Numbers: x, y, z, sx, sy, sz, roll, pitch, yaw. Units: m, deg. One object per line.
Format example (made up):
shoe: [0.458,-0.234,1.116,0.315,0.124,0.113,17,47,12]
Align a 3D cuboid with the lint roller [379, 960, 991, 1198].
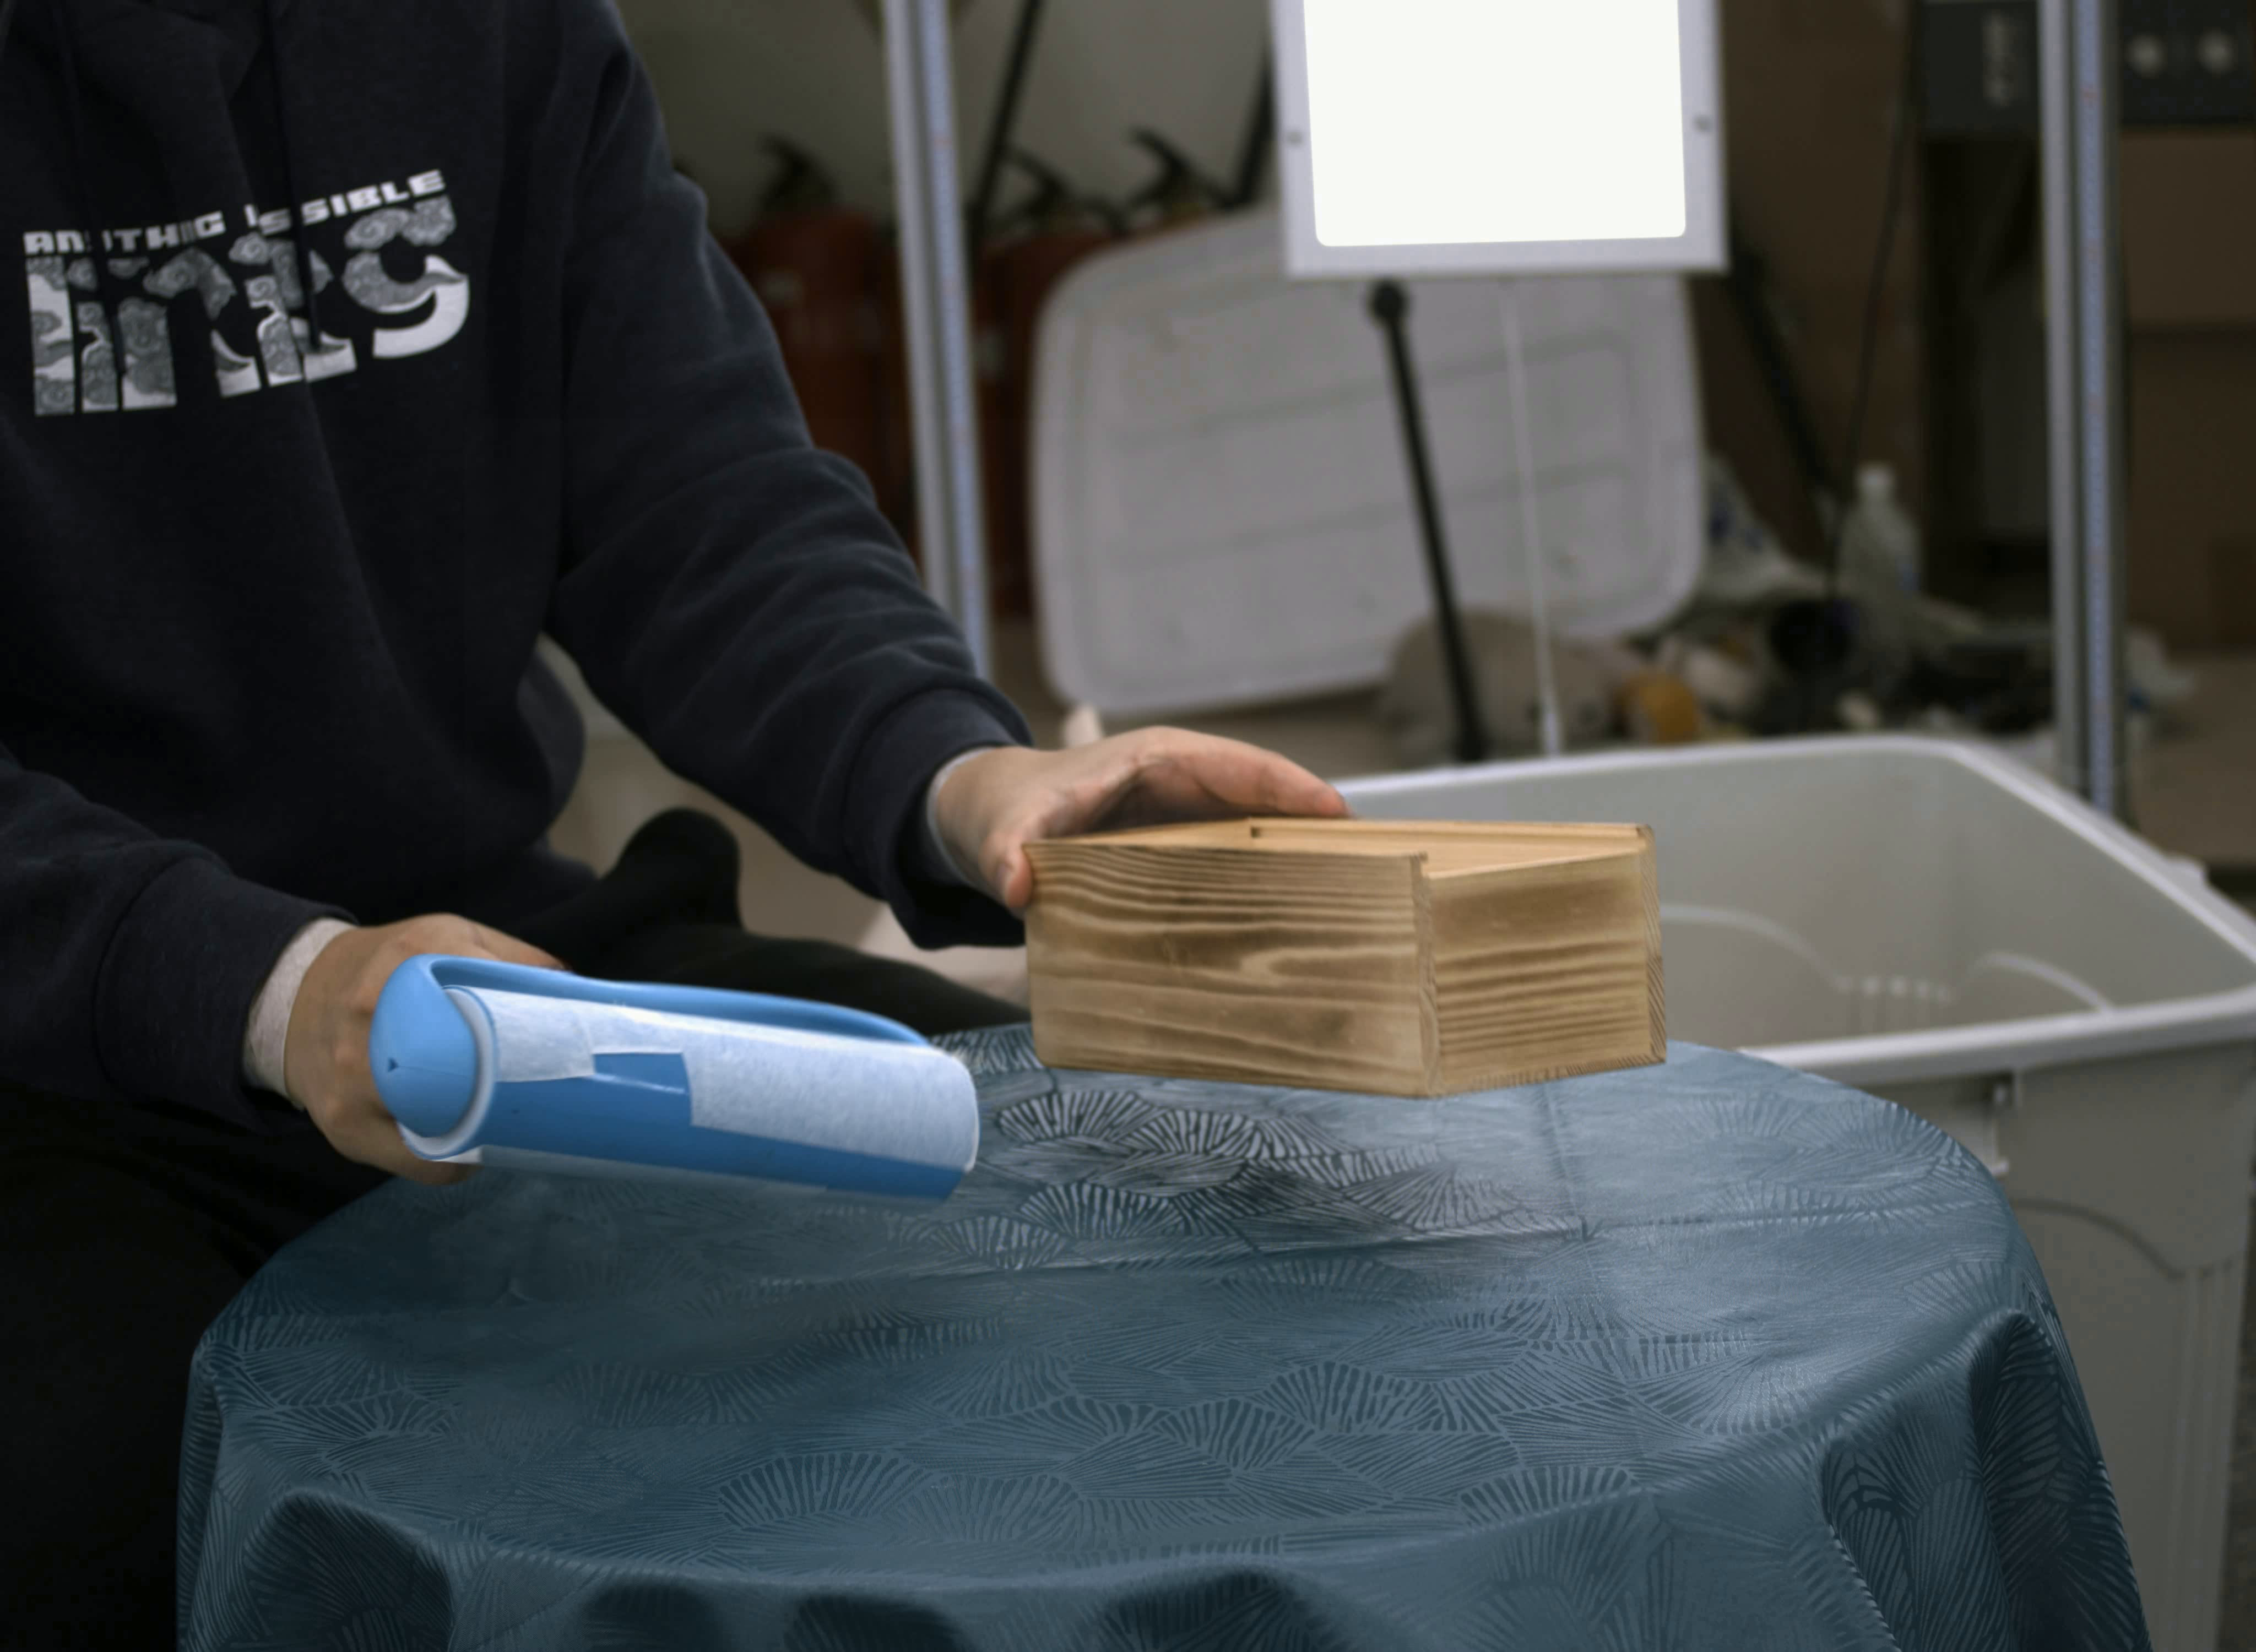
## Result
lint roller: [-0.175,0.078,1.771,0.223,0.068,0.184,5,3,-43]

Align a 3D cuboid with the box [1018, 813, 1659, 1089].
box: [0.069,0.040,1.858,0.105,0.080,0.216,-6,4,-37]
